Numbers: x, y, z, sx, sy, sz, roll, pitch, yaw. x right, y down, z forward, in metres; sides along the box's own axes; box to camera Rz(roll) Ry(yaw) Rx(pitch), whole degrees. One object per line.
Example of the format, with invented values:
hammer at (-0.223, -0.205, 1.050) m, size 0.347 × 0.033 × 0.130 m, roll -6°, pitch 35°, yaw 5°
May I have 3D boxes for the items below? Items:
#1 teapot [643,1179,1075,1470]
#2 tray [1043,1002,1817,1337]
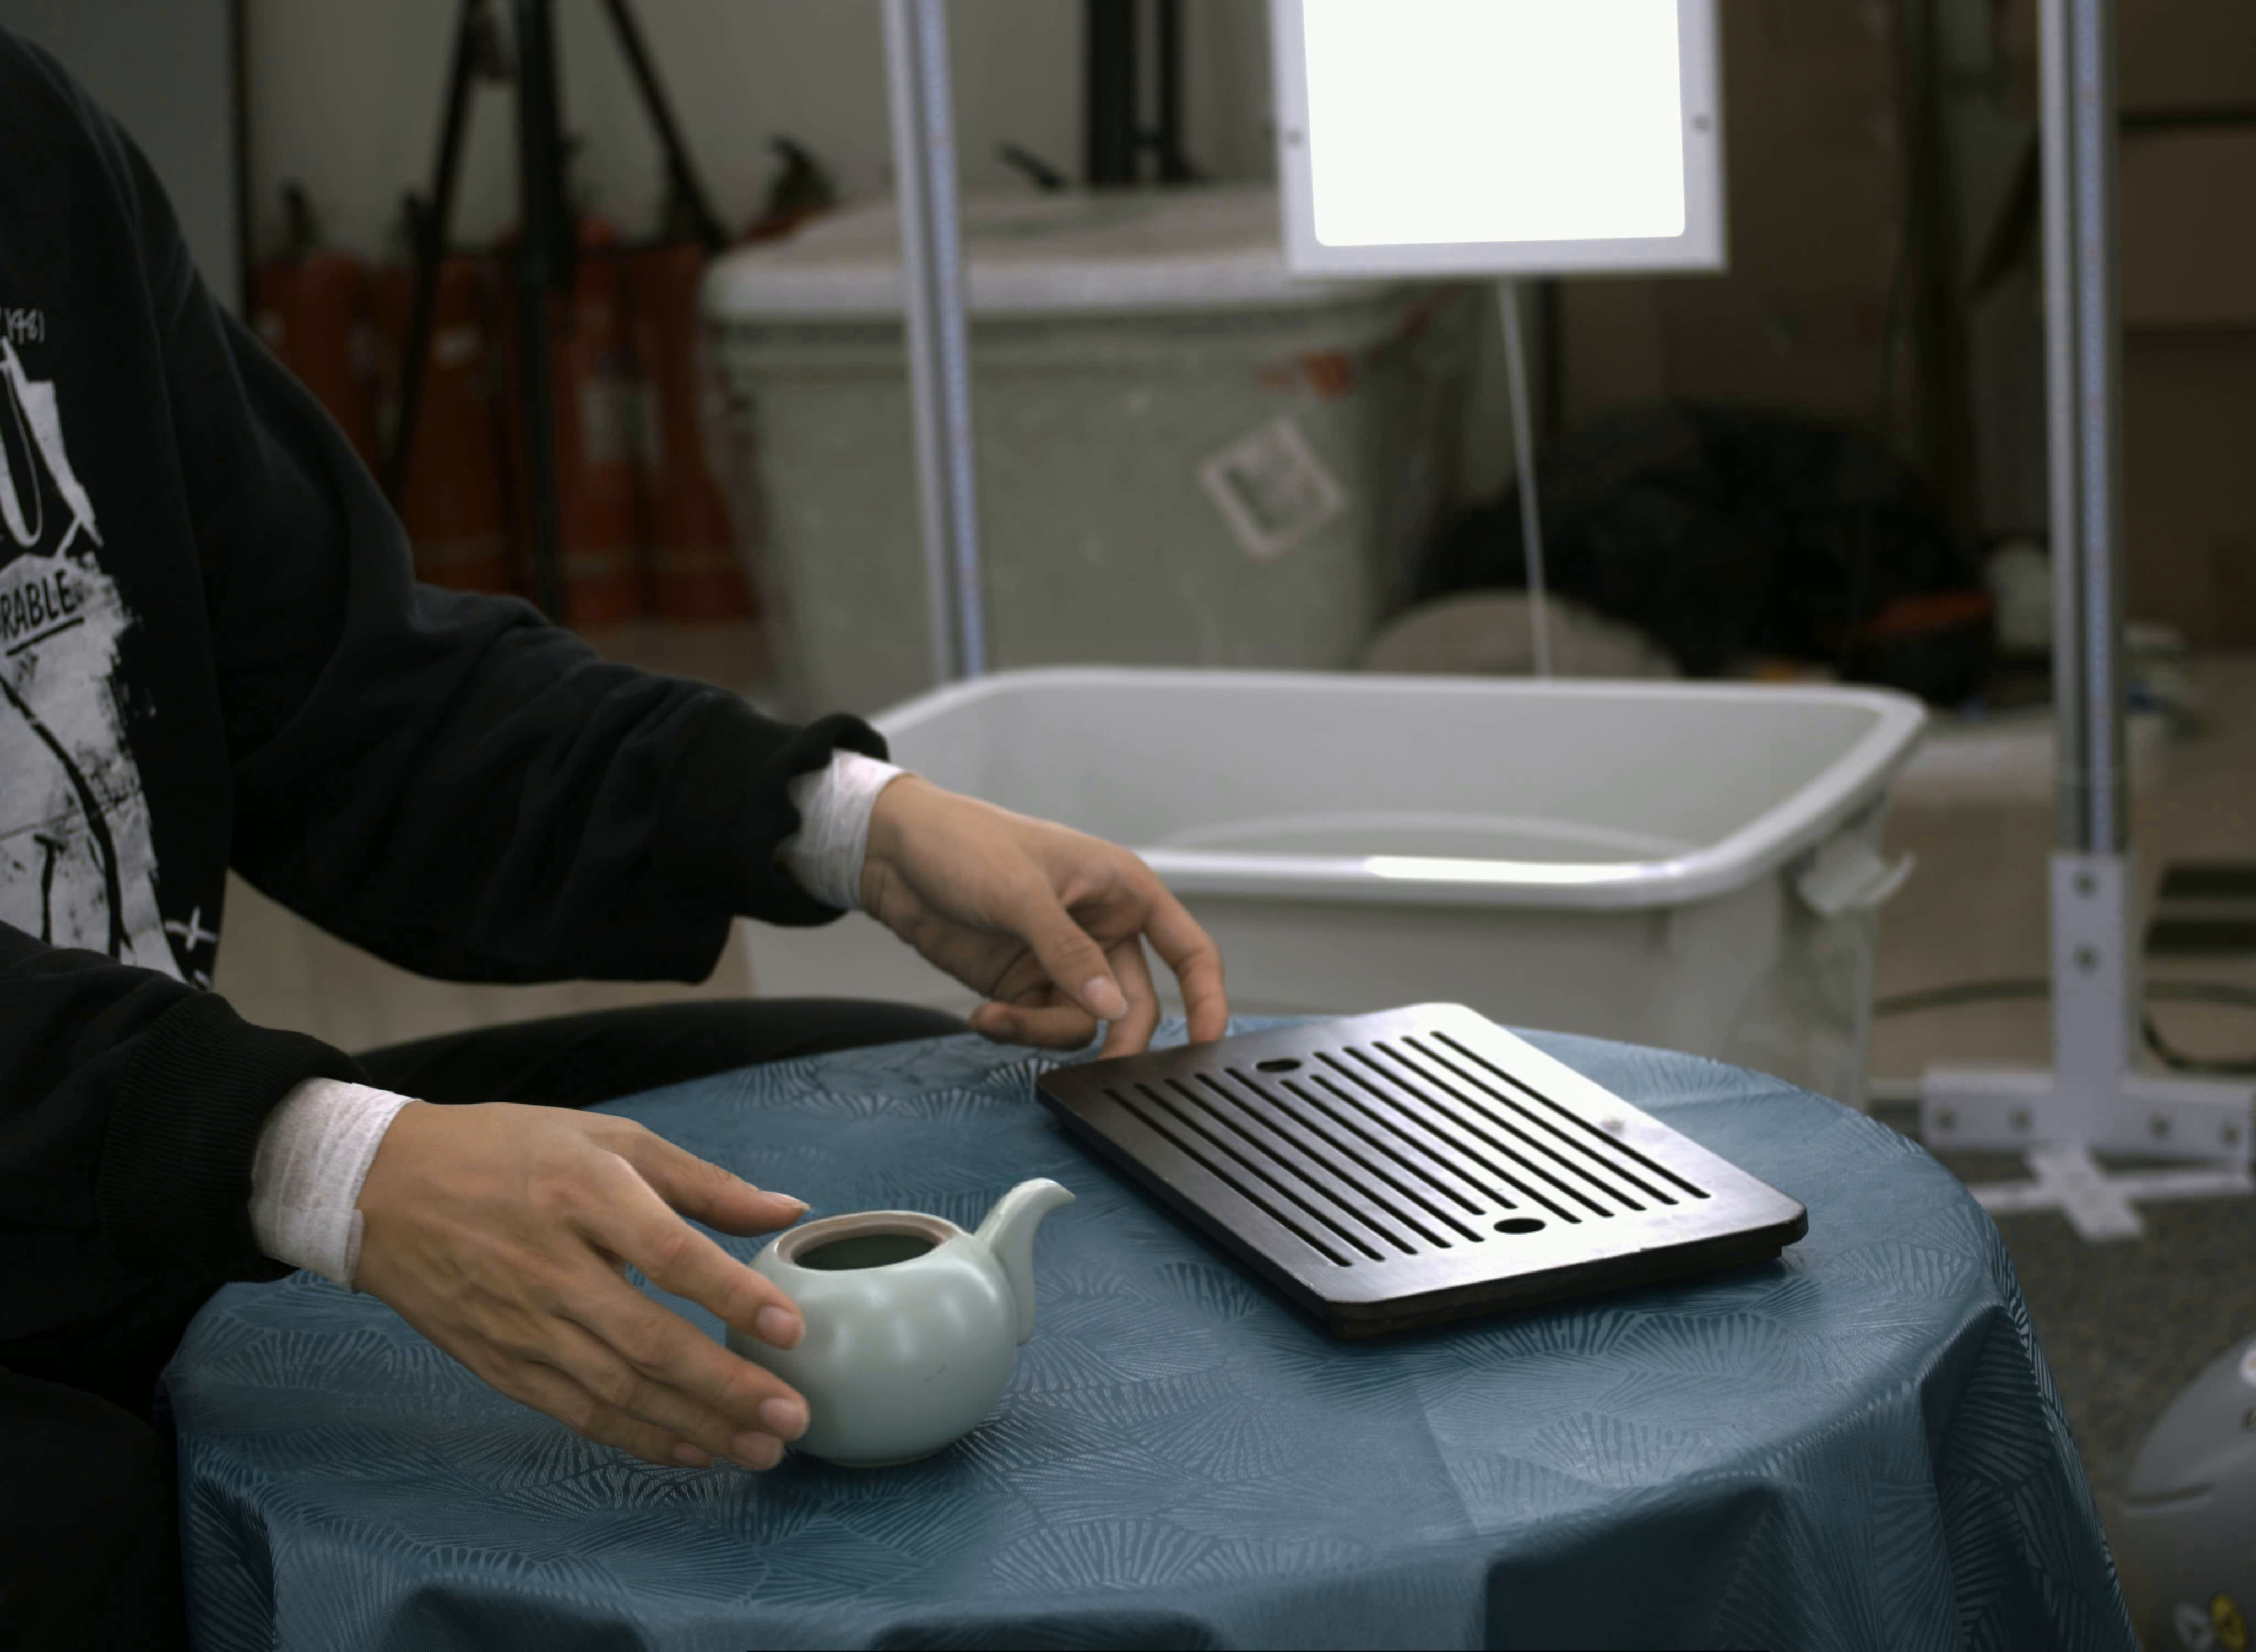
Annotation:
teapot at (-0.078, 0.153, 1.667) m, size 0.141 × 0.075 × 0.090 m, roll -9°, pitch 14°, yaw -23°
tray at (0.097, 0.114, 1.878) m, size 0.167 × 0.019 × 0.309 m, roll -10°, pitch 14°, yaw -17°
